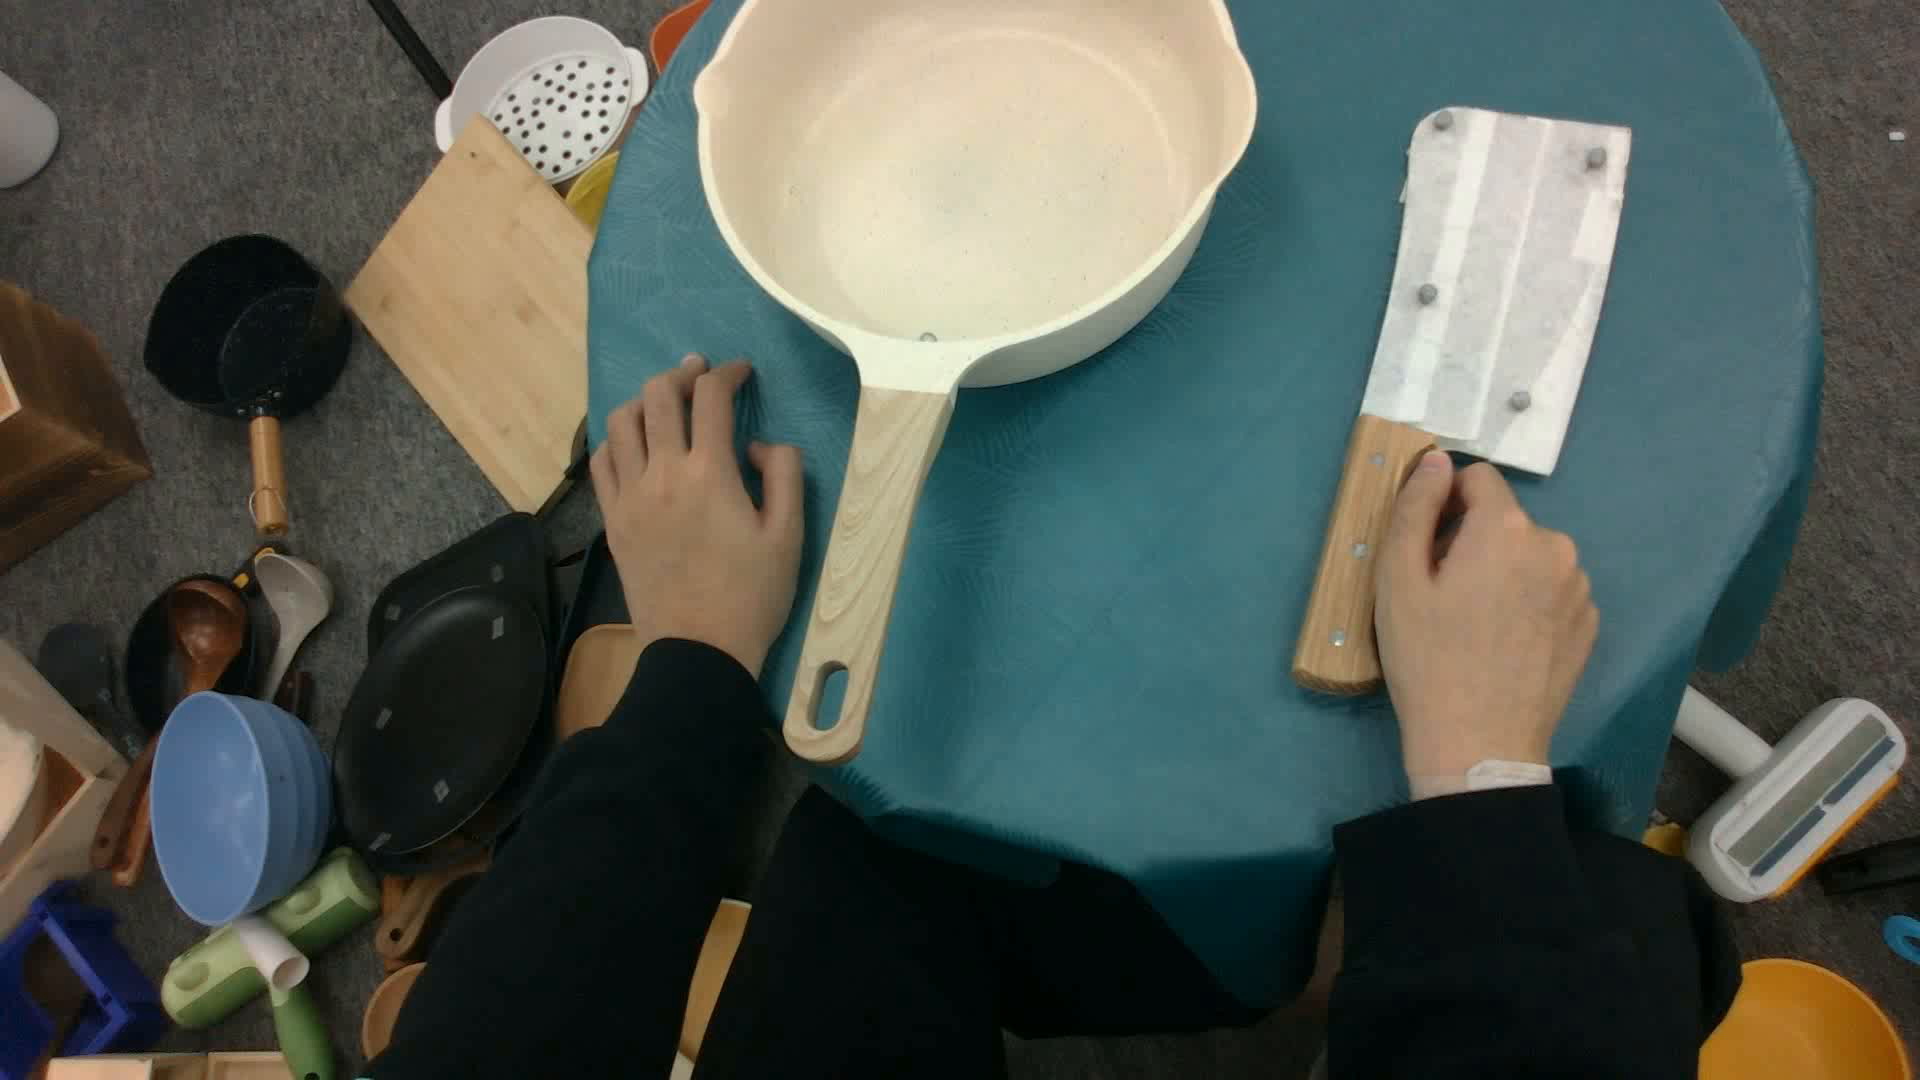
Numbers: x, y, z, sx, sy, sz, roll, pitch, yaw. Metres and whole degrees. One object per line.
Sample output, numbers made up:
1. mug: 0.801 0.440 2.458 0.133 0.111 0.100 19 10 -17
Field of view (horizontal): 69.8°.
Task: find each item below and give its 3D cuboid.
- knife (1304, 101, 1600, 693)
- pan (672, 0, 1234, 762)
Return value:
1. knife: 0.216 -0.077 0.631 0.114 0.021 0.316 19 74 14
2. pan: -0.017 -0.109 0.637 0.263 0.102 0.436 6 73 9
